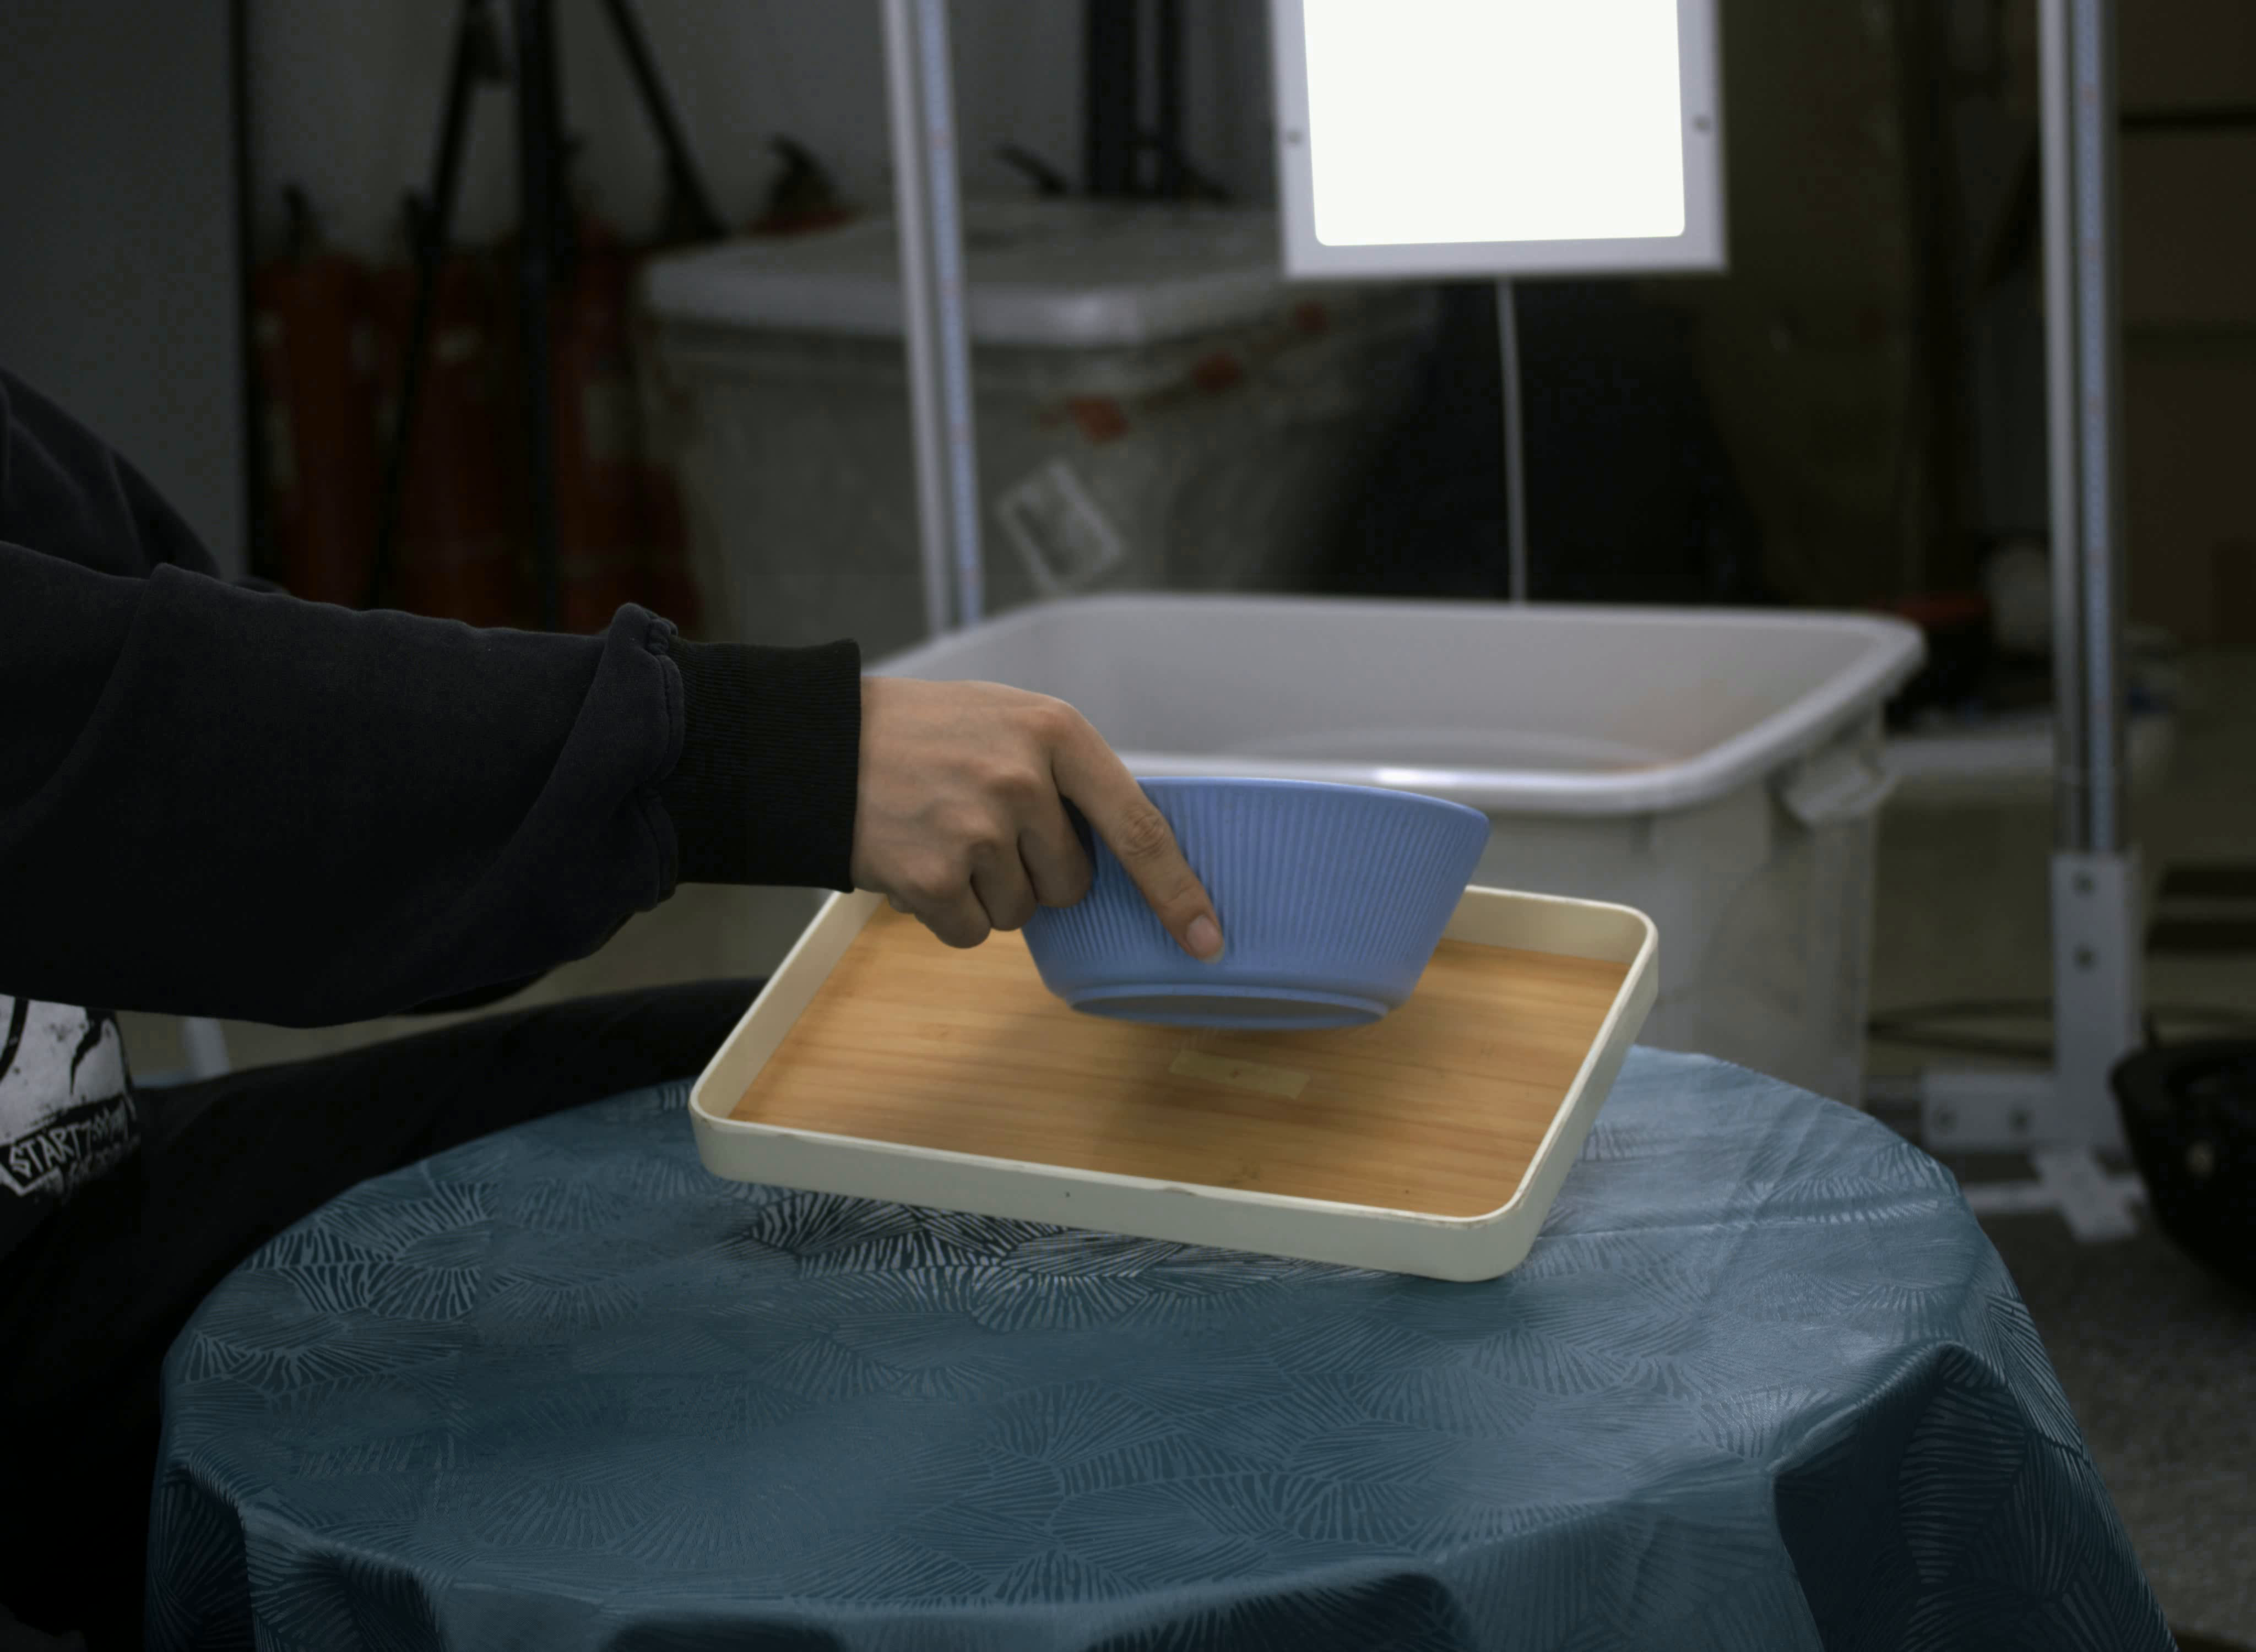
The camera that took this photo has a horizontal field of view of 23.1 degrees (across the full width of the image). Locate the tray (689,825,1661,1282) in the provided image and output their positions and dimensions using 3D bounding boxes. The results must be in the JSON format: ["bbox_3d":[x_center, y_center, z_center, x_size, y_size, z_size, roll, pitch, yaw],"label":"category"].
[{"bbox_3d":[0.018,0.074,1.890,0.304,0.027,0.188,6,35,23],"label":"tray"}]

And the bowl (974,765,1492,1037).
[{"bbox_3d":[0.034,0.029,1.842,0.175,0.070,0.176,3,-11,-1],"label":"bowl"}]
